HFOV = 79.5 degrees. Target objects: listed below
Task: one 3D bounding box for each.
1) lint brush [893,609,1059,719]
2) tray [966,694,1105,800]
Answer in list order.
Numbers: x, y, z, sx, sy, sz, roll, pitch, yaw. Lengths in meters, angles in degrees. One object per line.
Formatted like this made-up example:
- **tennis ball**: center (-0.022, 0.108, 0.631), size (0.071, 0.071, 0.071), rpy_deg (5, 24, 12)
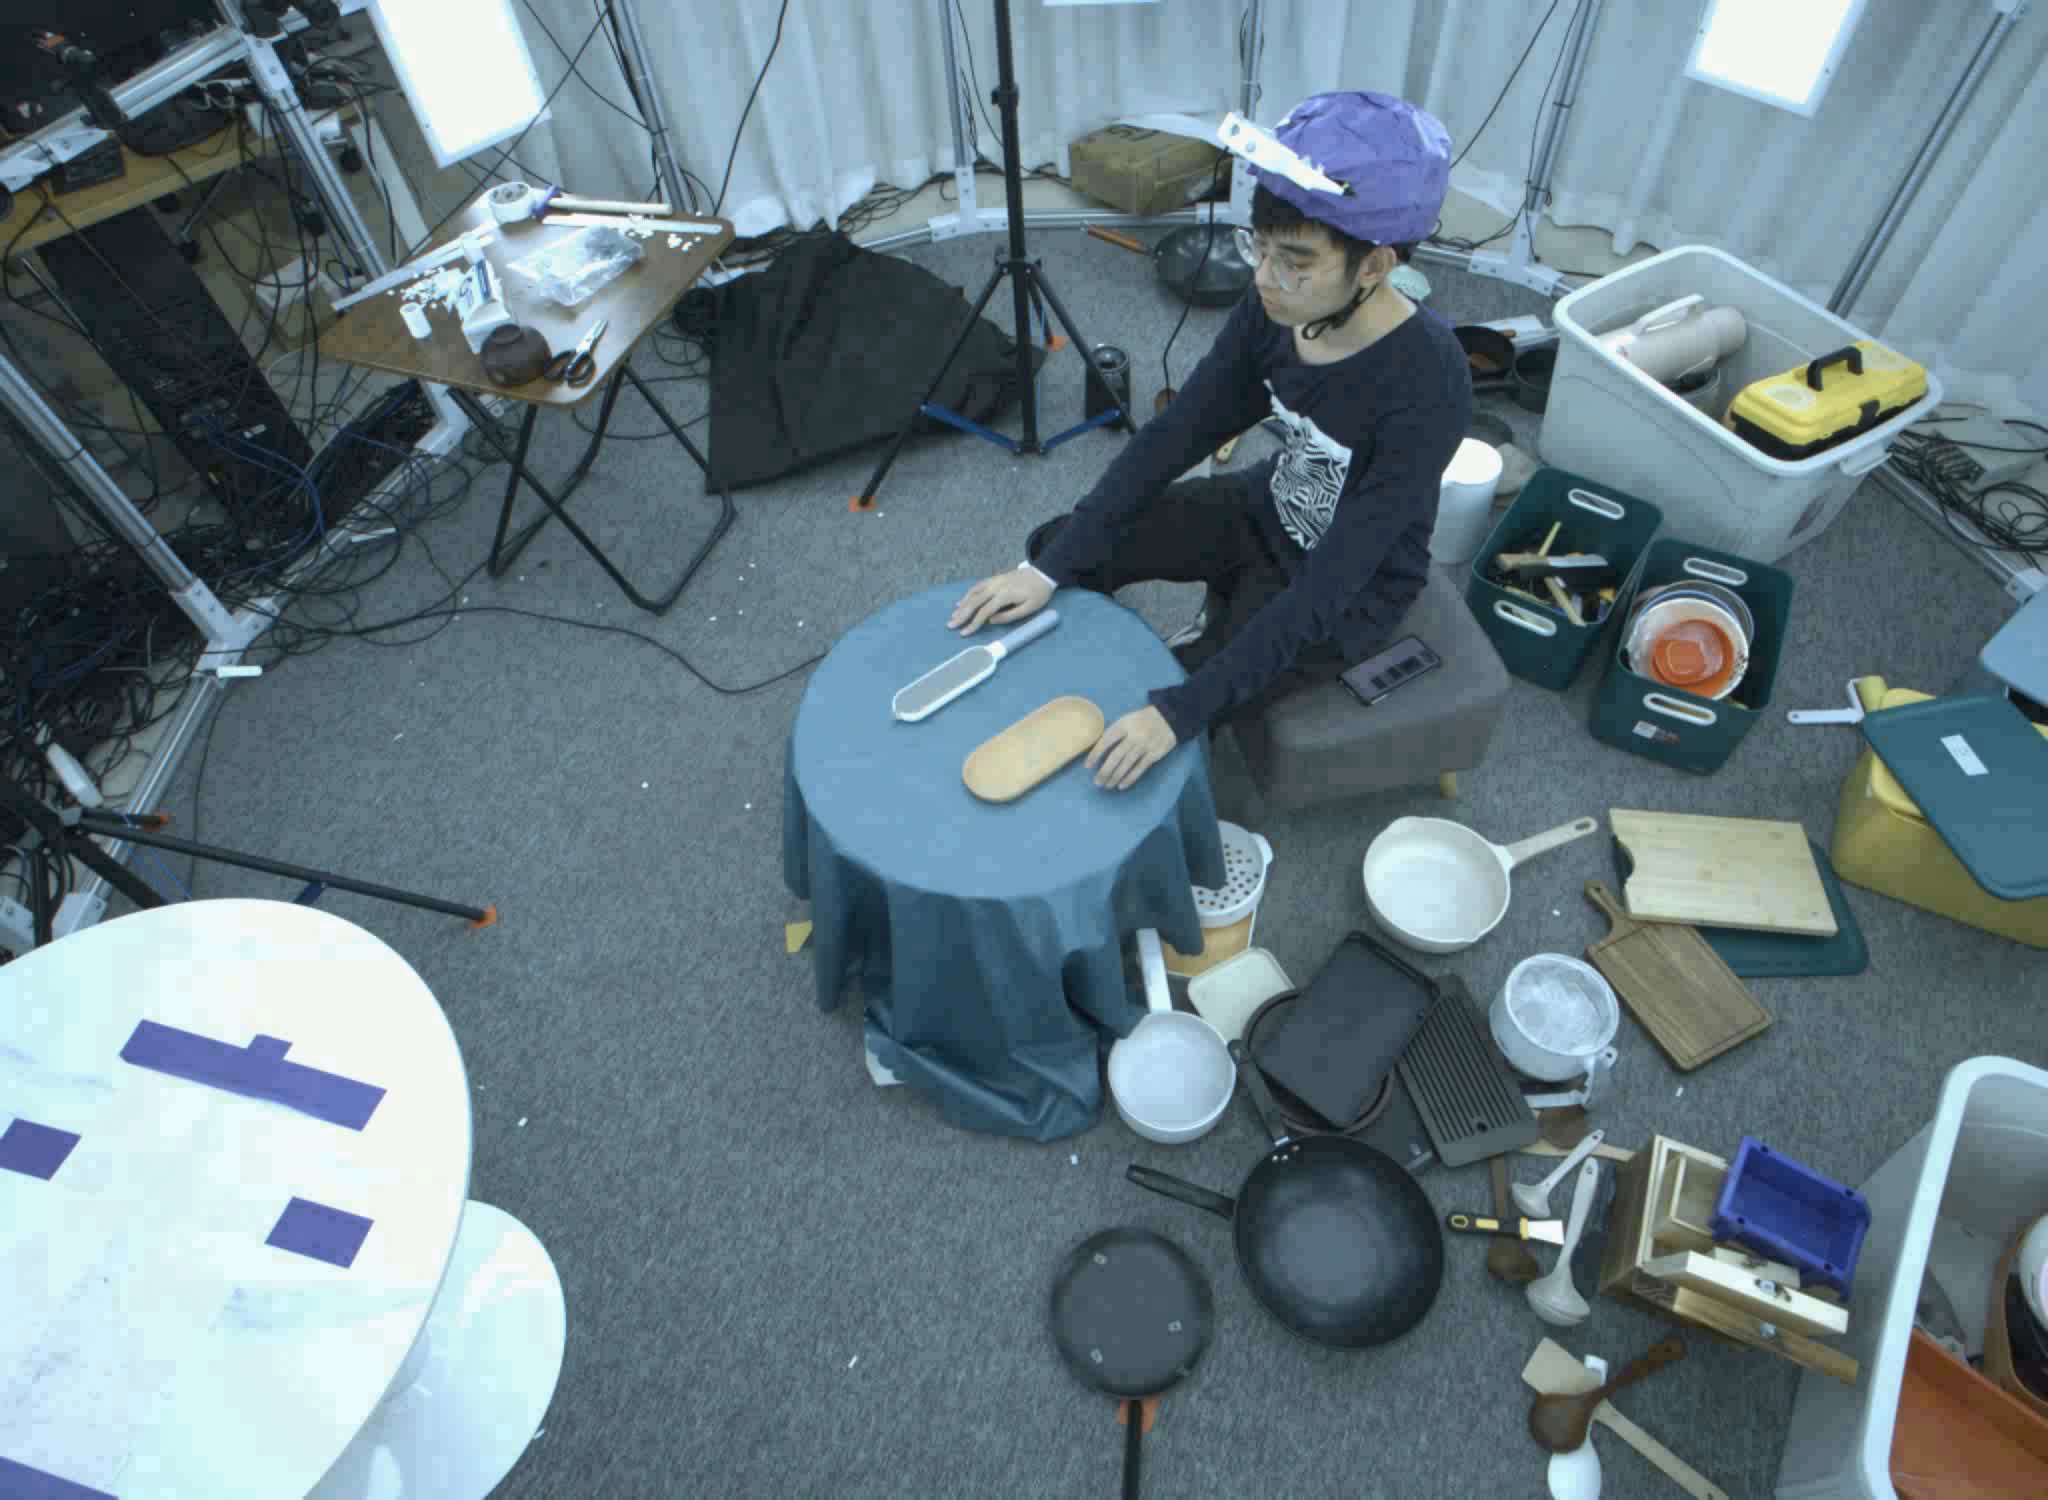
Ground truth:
- **lint brush**: center (-0.069, -0.135, 1.877), size (0.311, 0.021, 0.059), rpy_deg (-33, 55, -21)
- **tray**: center (0.018, -0.005, 1.789), size (0.233, 0.020, 0.100), rpy_deg (-33, 62, -23)
